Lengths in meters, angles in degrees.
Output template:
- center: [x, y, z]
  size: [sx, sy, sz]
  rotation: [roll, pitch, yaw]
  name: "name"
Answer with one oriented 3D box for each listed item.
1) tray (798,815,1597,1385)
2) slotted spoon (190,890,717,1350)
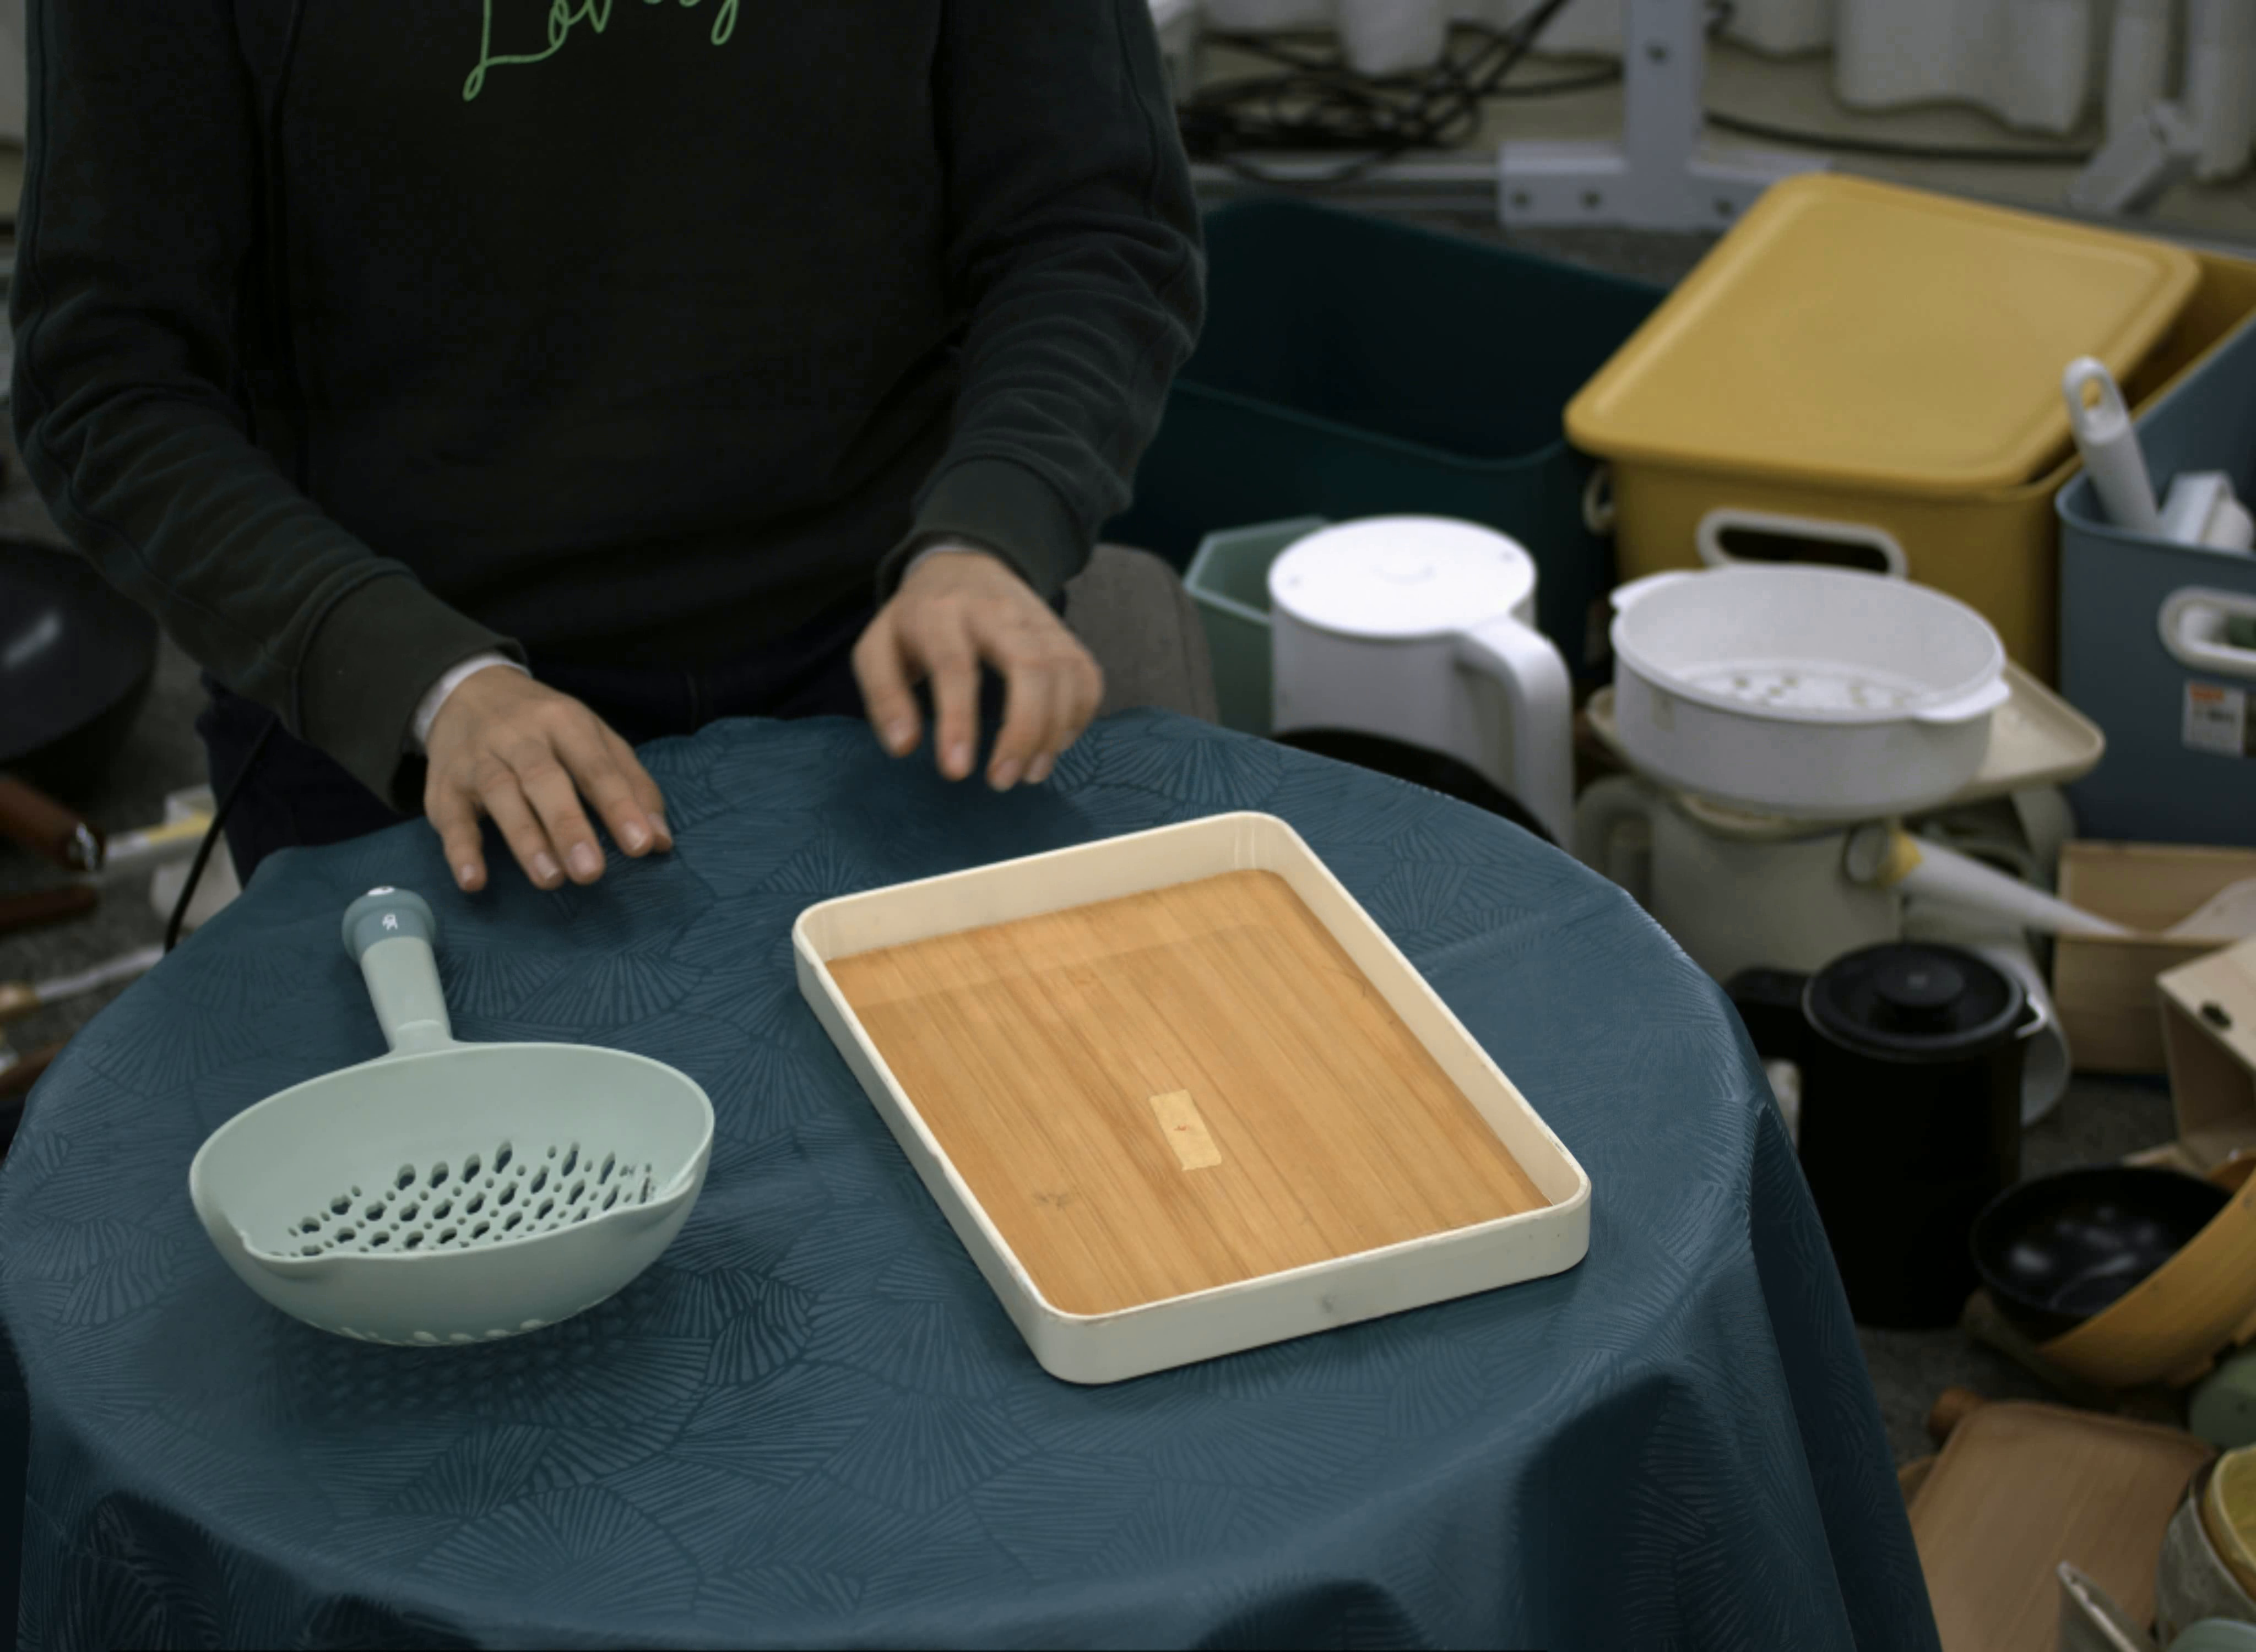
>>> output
- center: [0.017, 0.087, 1.899]
  size: [0.192, 0.027, 0.303]
  rotation: [-11, 29, -16]
  name: "tray"
- center: [-0.235, 0.083, 1.889]
  size: [0.169, 0.074, 0.363]
  rotation: [-8, 28, -10]
  name: "slotted spoon"
